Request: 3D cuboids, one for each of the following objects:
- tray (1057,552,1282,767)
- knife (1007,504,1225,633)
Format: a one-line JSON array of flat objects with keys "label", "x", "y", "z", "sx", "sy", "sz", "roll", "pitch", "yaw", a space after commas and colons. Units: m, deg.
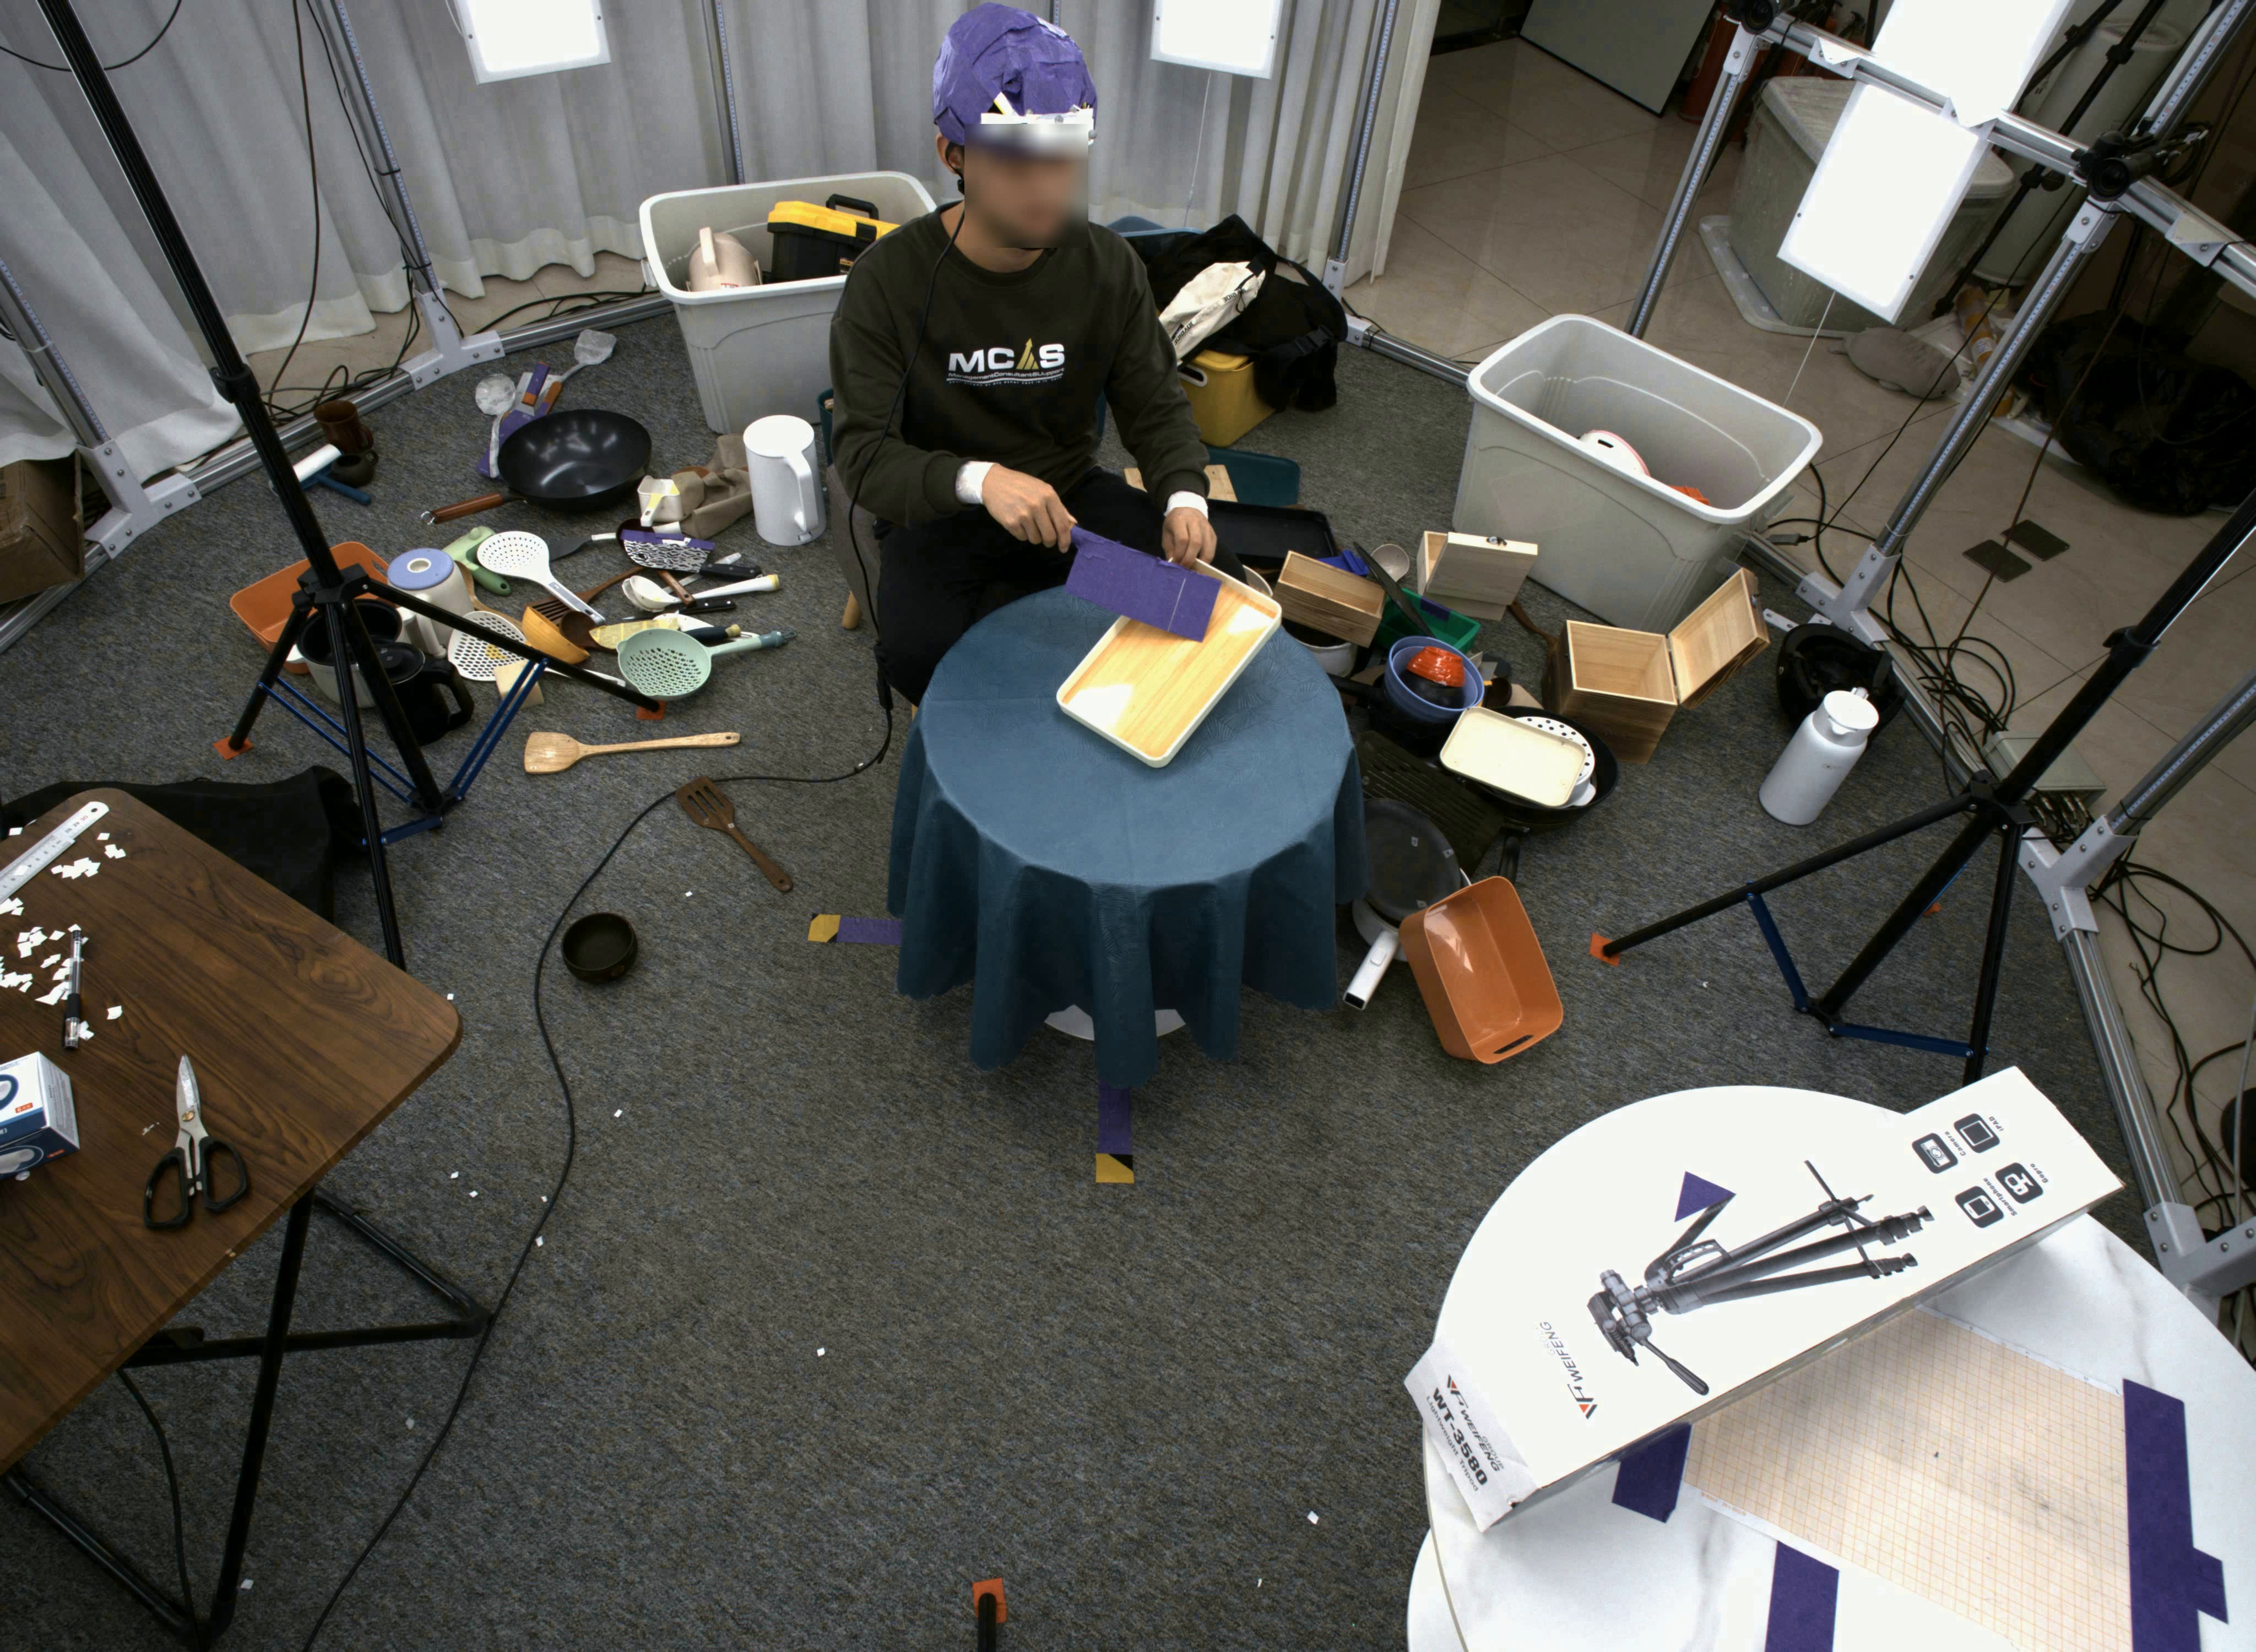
[{"label": "tray", "x": 0.059, "y": -0.238, "z": 1.802, "sx": 0.194, "sy": 0.027, "sz": 0.303, "roll": 32, "pitch": 73, "yaw": 23}, {"label": "knife", "x": -0.025, "y": -0.354, "z": 1.792, "sx": 0.315, "sy": 0.103, "sz": 0.032, "roll": 19, "pitch": 6, "yaw": -3}]
